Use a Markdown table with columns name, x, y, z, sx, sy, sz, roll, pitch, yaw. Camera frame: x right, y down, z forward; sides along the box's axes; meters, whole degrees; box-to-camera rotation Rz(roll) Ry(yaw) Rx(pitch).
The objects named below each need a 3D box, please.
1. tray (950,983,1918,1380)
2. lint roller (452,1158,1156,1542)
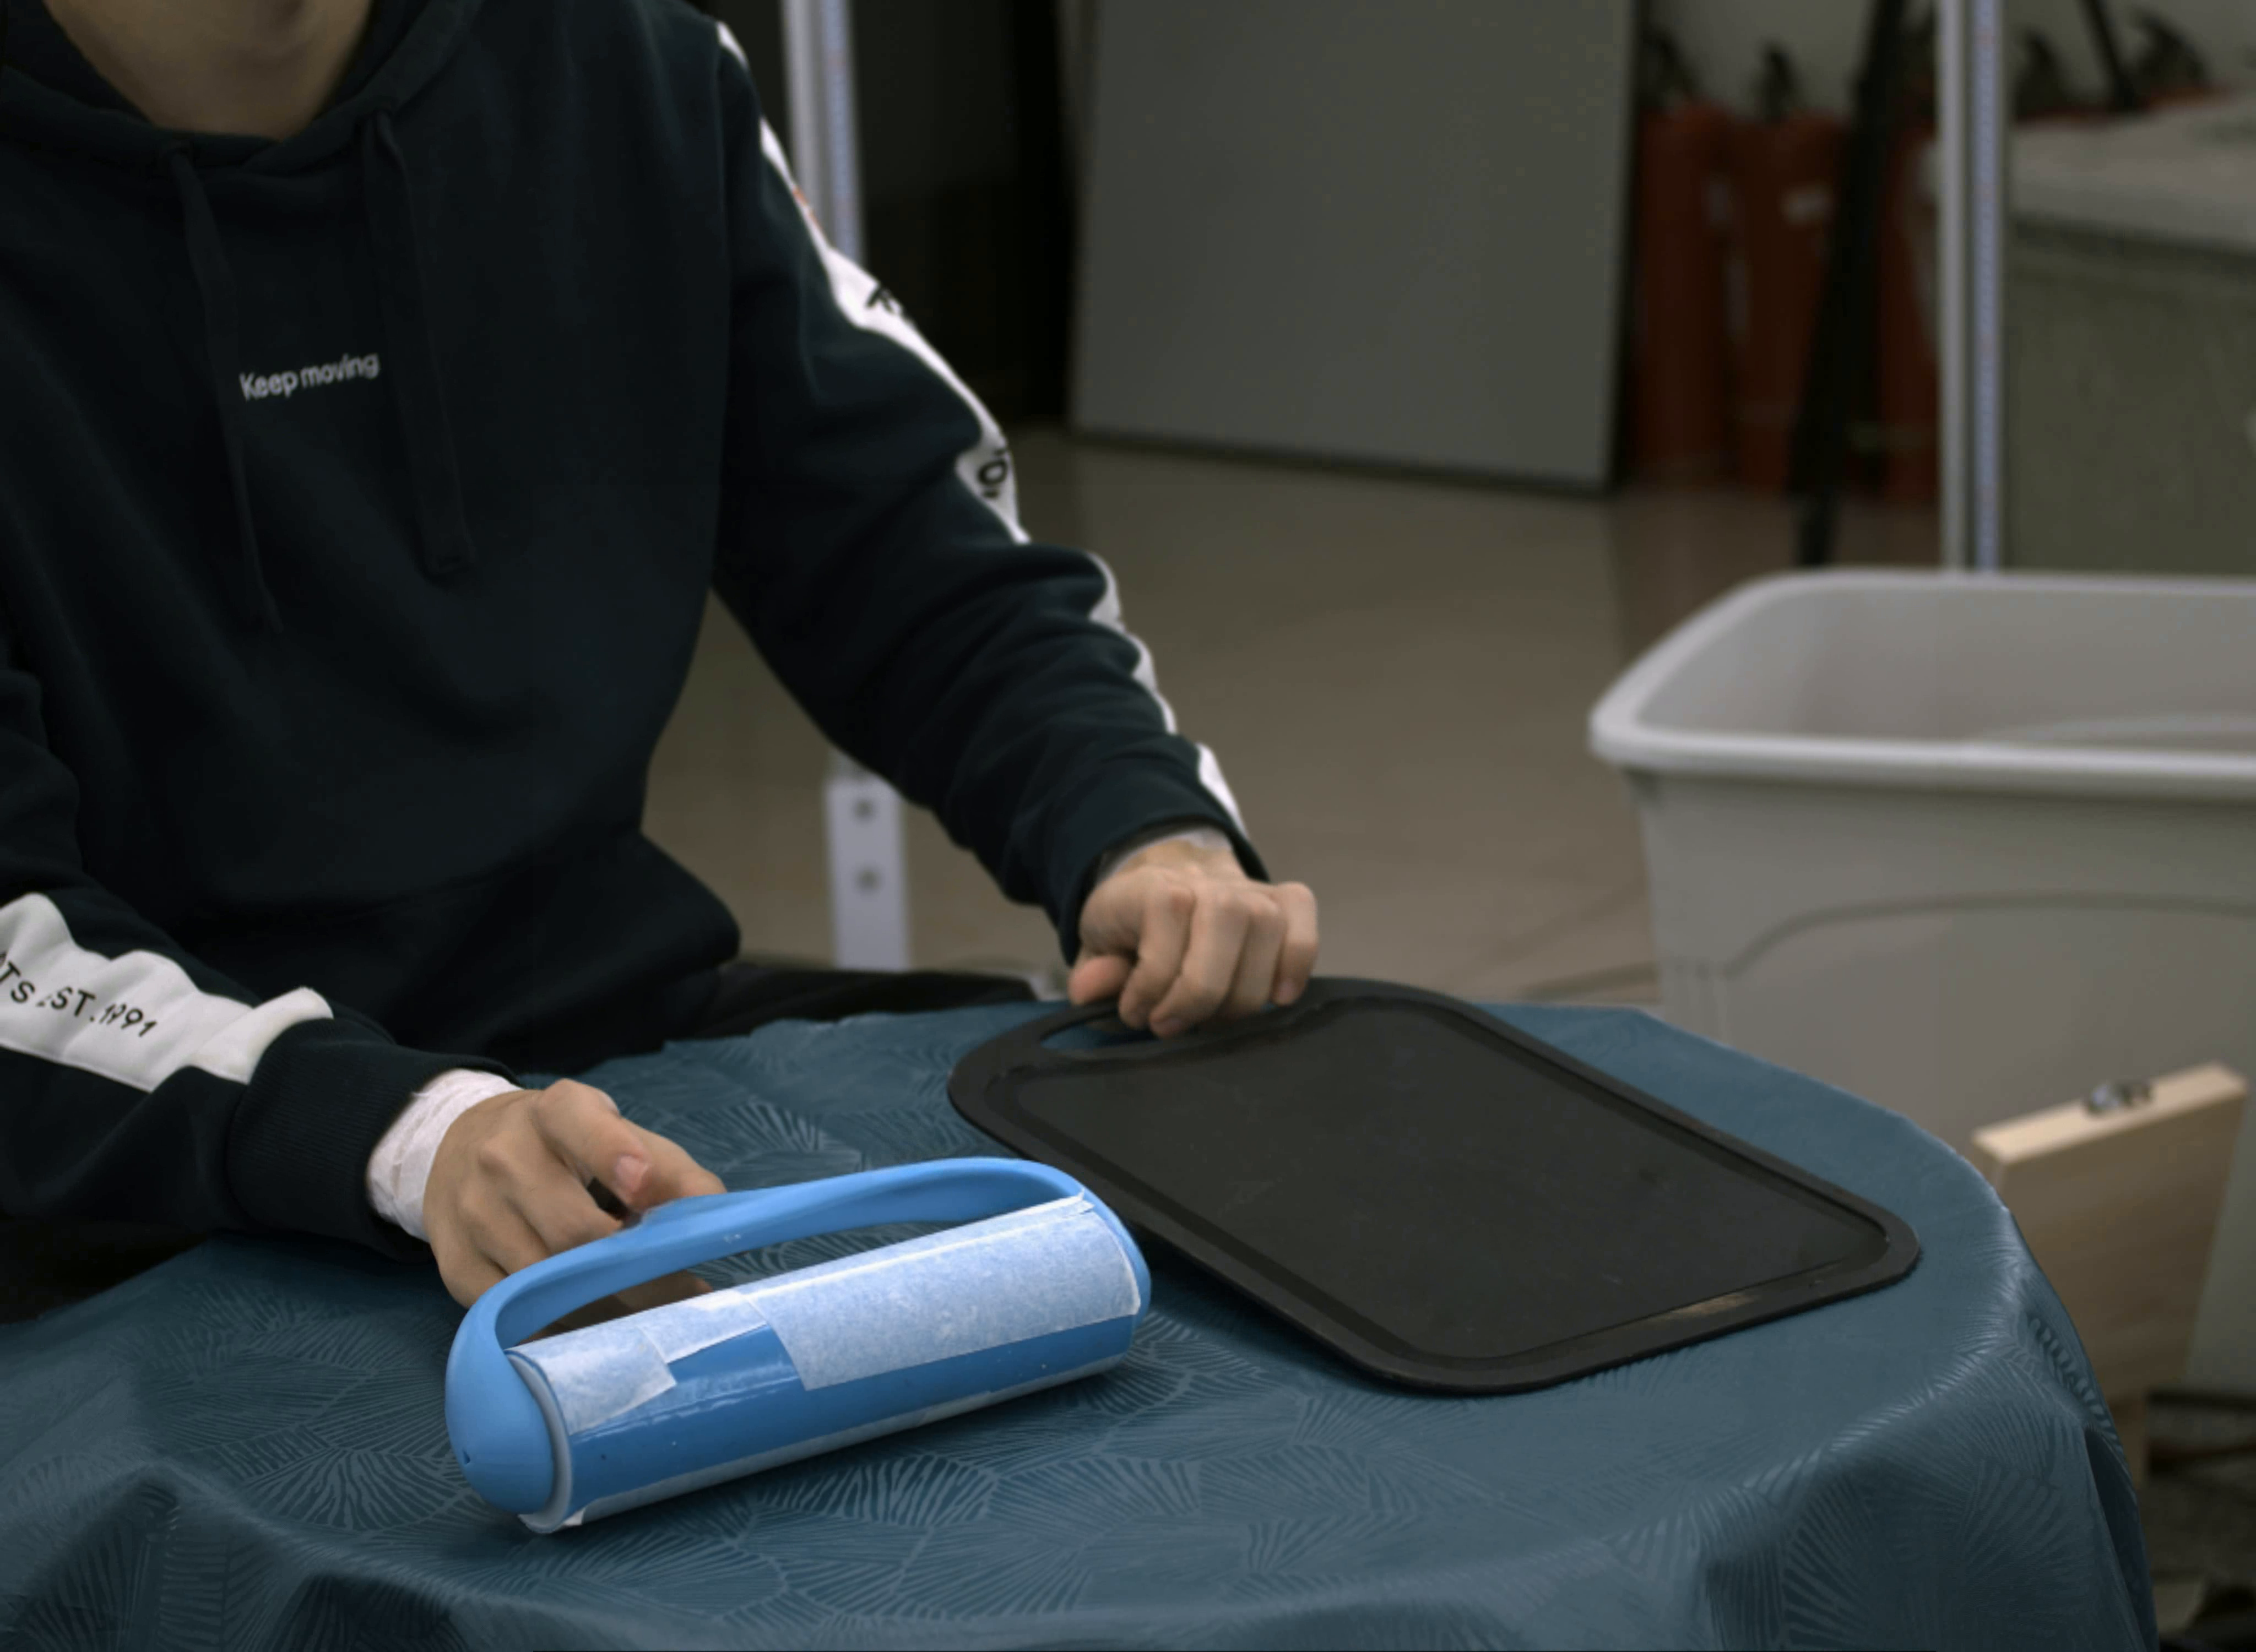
| name | x | y | z | sx | sy | sz | roll | pitch | yaw |
| --- | --- | --- | --- | --- | --- | --- | --- | --- | --- |
| tray | 0.087 | 0.106 | 1.725 | 0.206 | 0.010 | 0.329 | -11 | 21 | -30 |
| lint roller | -0.123 | 0.143 | 1.600 | 0.224 | 0.068 | 0.182 | -16 | 19 | -33 |
